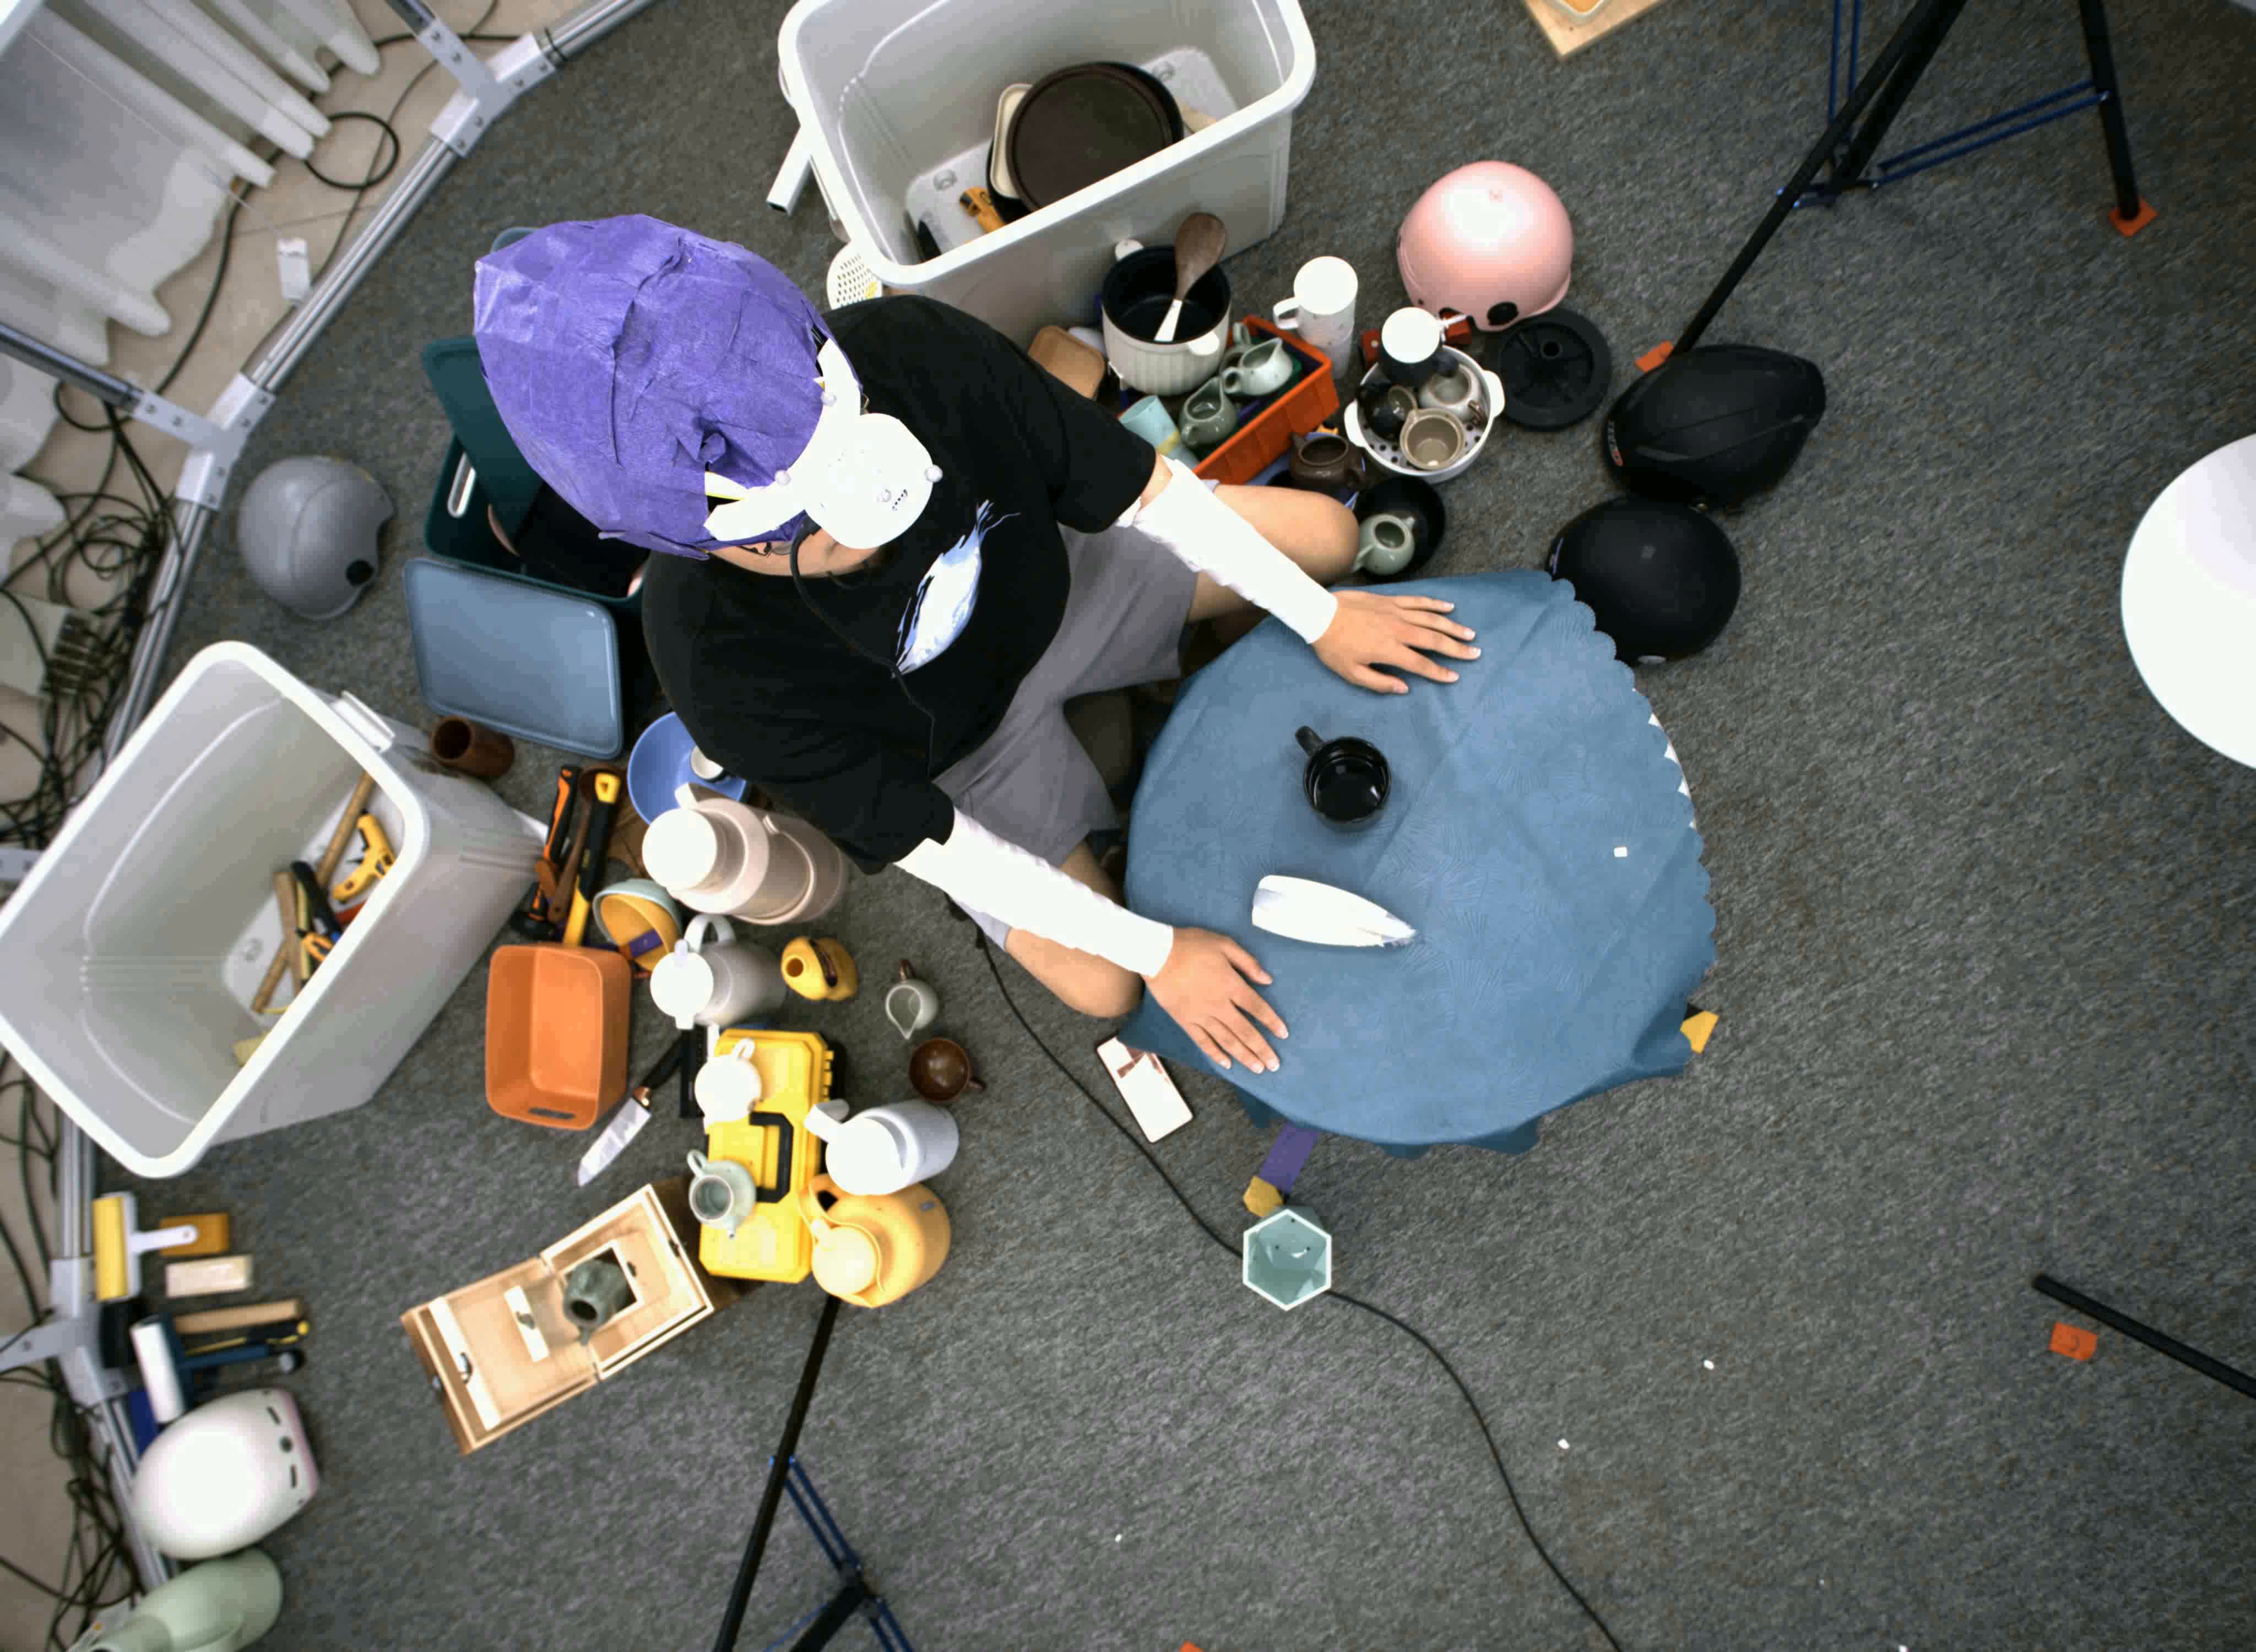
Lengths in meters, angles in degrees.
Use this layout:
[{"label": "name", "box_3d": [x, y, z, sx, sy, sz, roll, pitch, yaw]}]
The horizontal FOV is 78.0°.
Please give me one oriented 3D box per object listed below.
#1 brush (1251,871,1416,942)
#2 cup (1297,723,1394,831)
[{"label": "brush", "box_3d": [0.211, 0.089, 1.422, 0.176, 0.094, 0.061, 13, 89, 9]}, {"label": "cup", "box_3d": [0.218, -0.056, 1.424, 0.089, 0.105, 0.123, -39, 79, 10]}]
